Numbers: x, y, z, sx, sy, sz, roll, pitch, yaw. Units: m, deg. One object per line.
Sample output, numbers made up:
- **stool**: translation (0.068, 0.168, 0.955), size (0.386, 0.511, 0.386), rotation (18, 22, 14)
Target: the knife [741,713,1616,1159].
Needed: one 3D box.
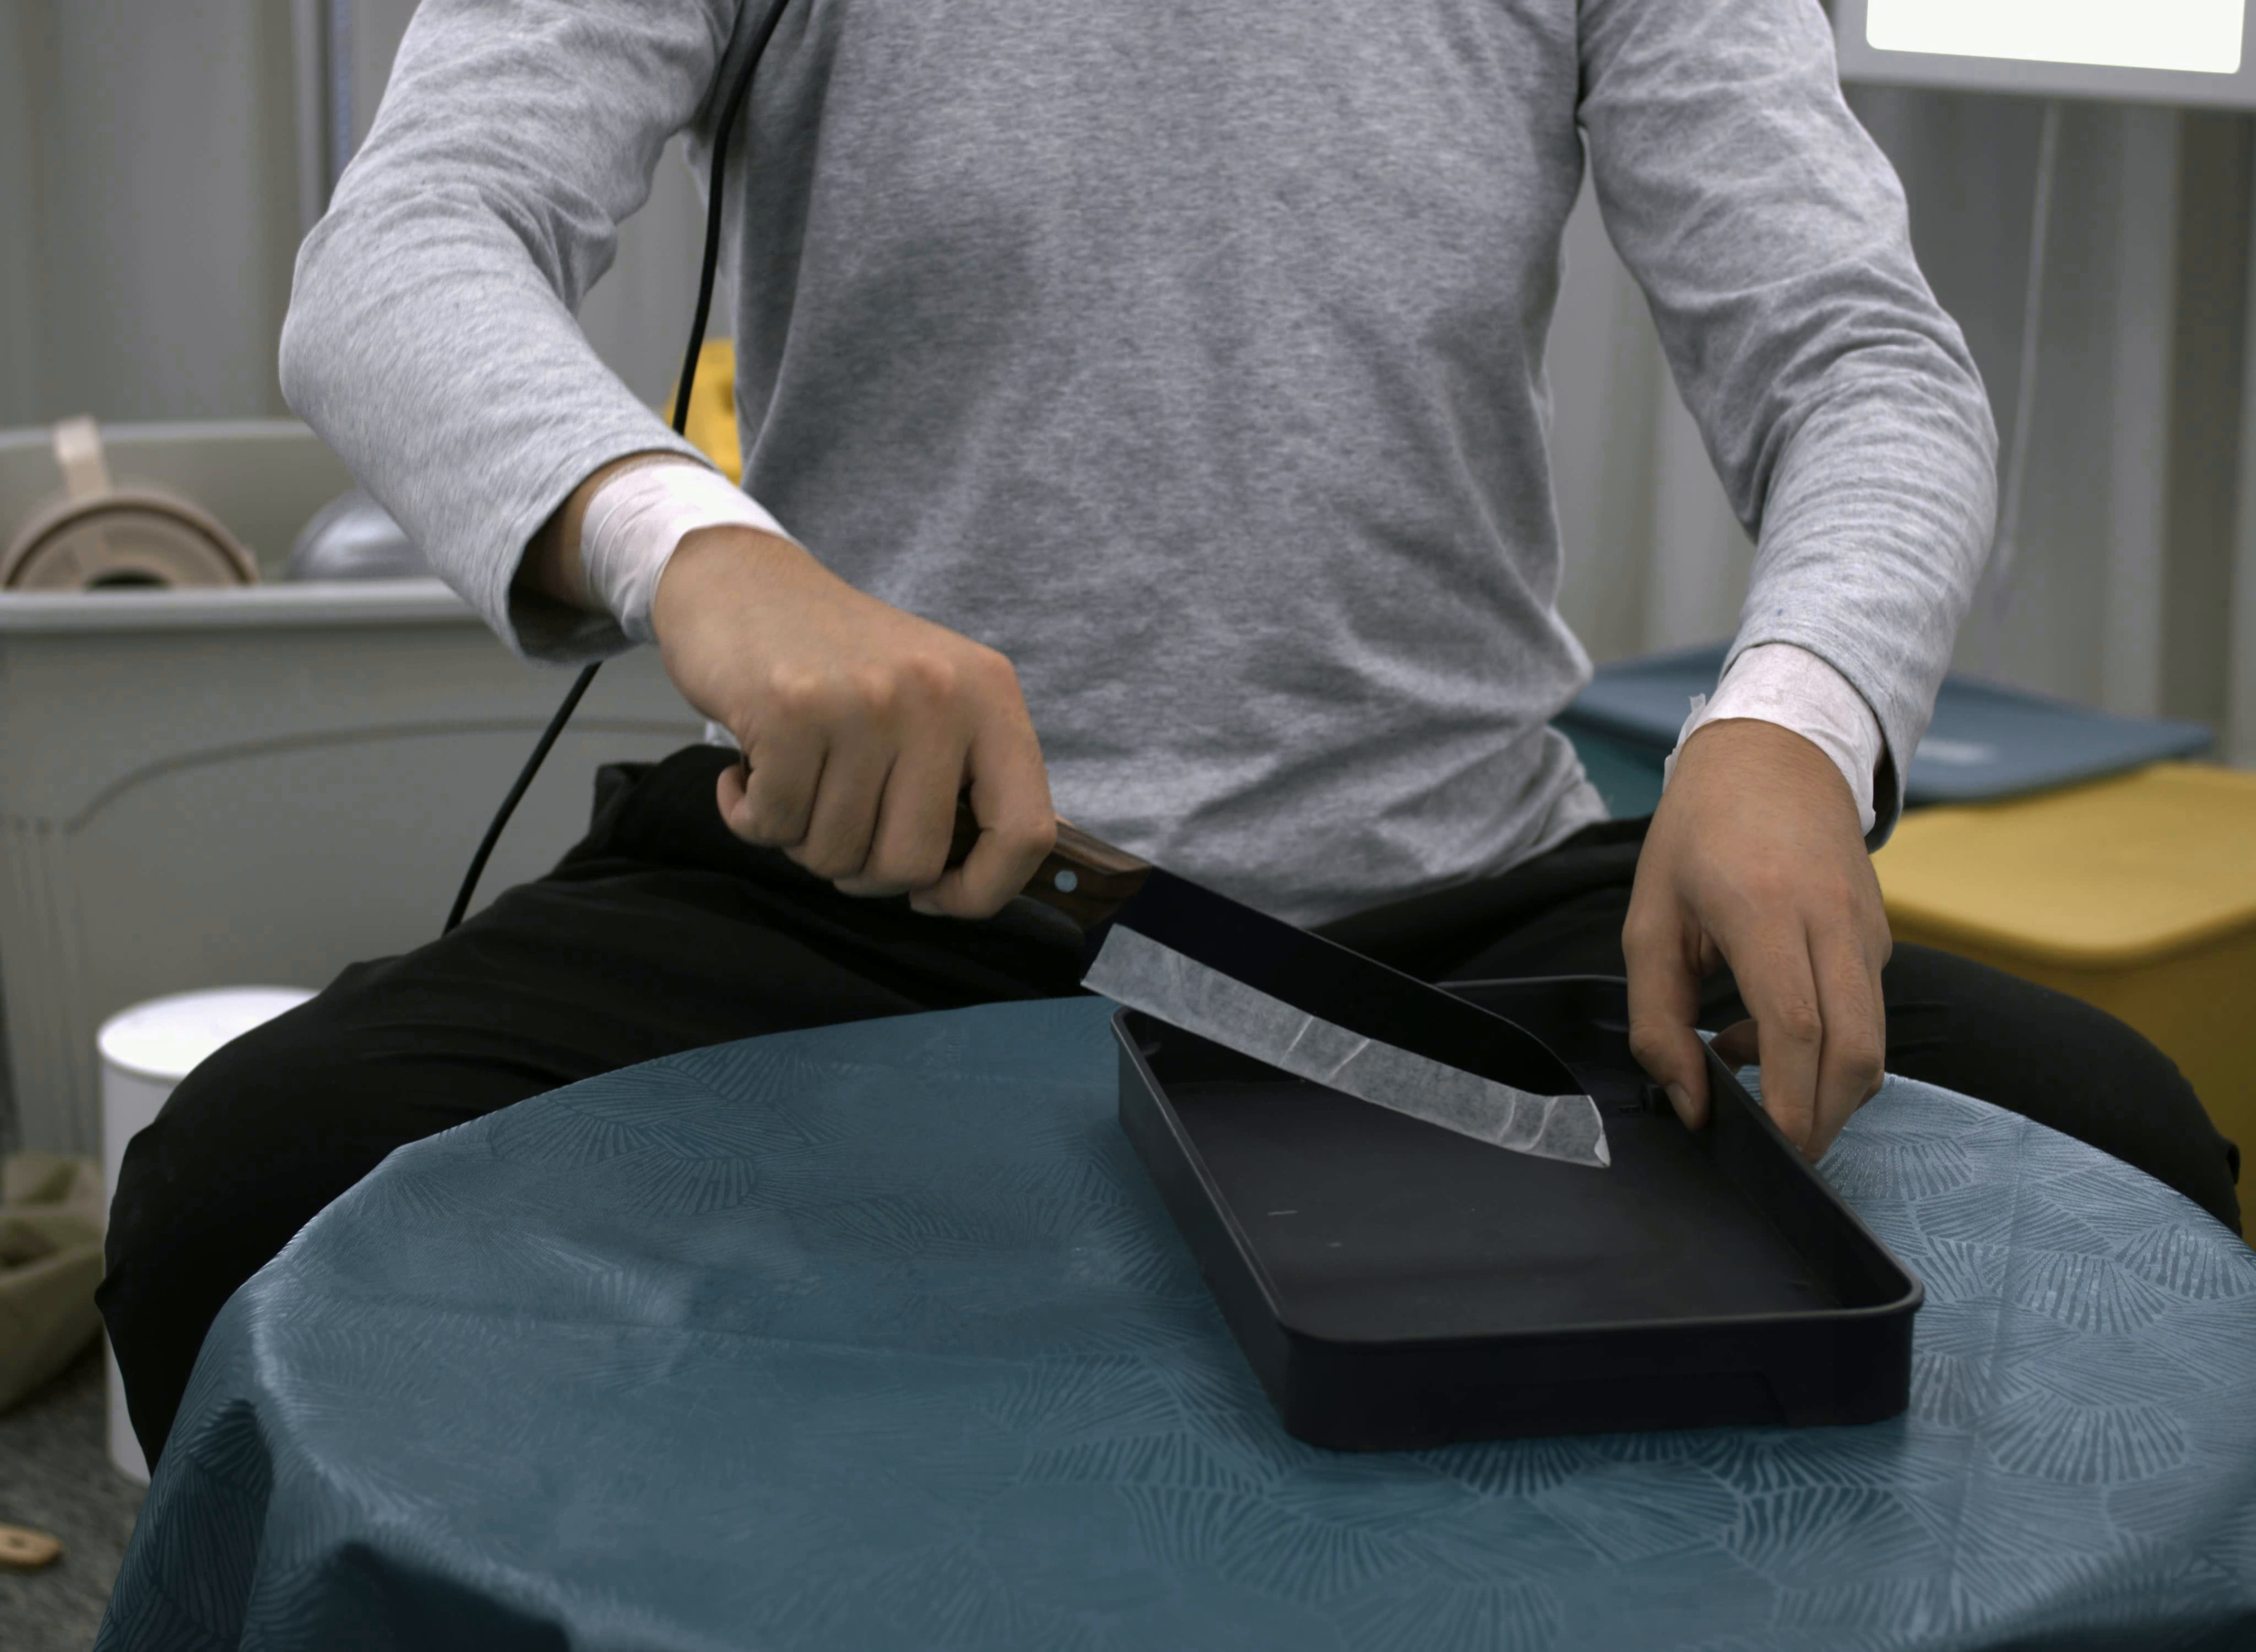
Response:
- **knife**: translation (0.016, 0.034, 1.545), size (0.289, 0.050, 0.020), rotation (25, 23, -8)

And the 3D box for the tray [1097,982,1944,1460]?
- **tray**: translation (0.107, 0.111, 1.568), size (0.184, 0.037, 0.315), rotation (-3, 15, -12)
